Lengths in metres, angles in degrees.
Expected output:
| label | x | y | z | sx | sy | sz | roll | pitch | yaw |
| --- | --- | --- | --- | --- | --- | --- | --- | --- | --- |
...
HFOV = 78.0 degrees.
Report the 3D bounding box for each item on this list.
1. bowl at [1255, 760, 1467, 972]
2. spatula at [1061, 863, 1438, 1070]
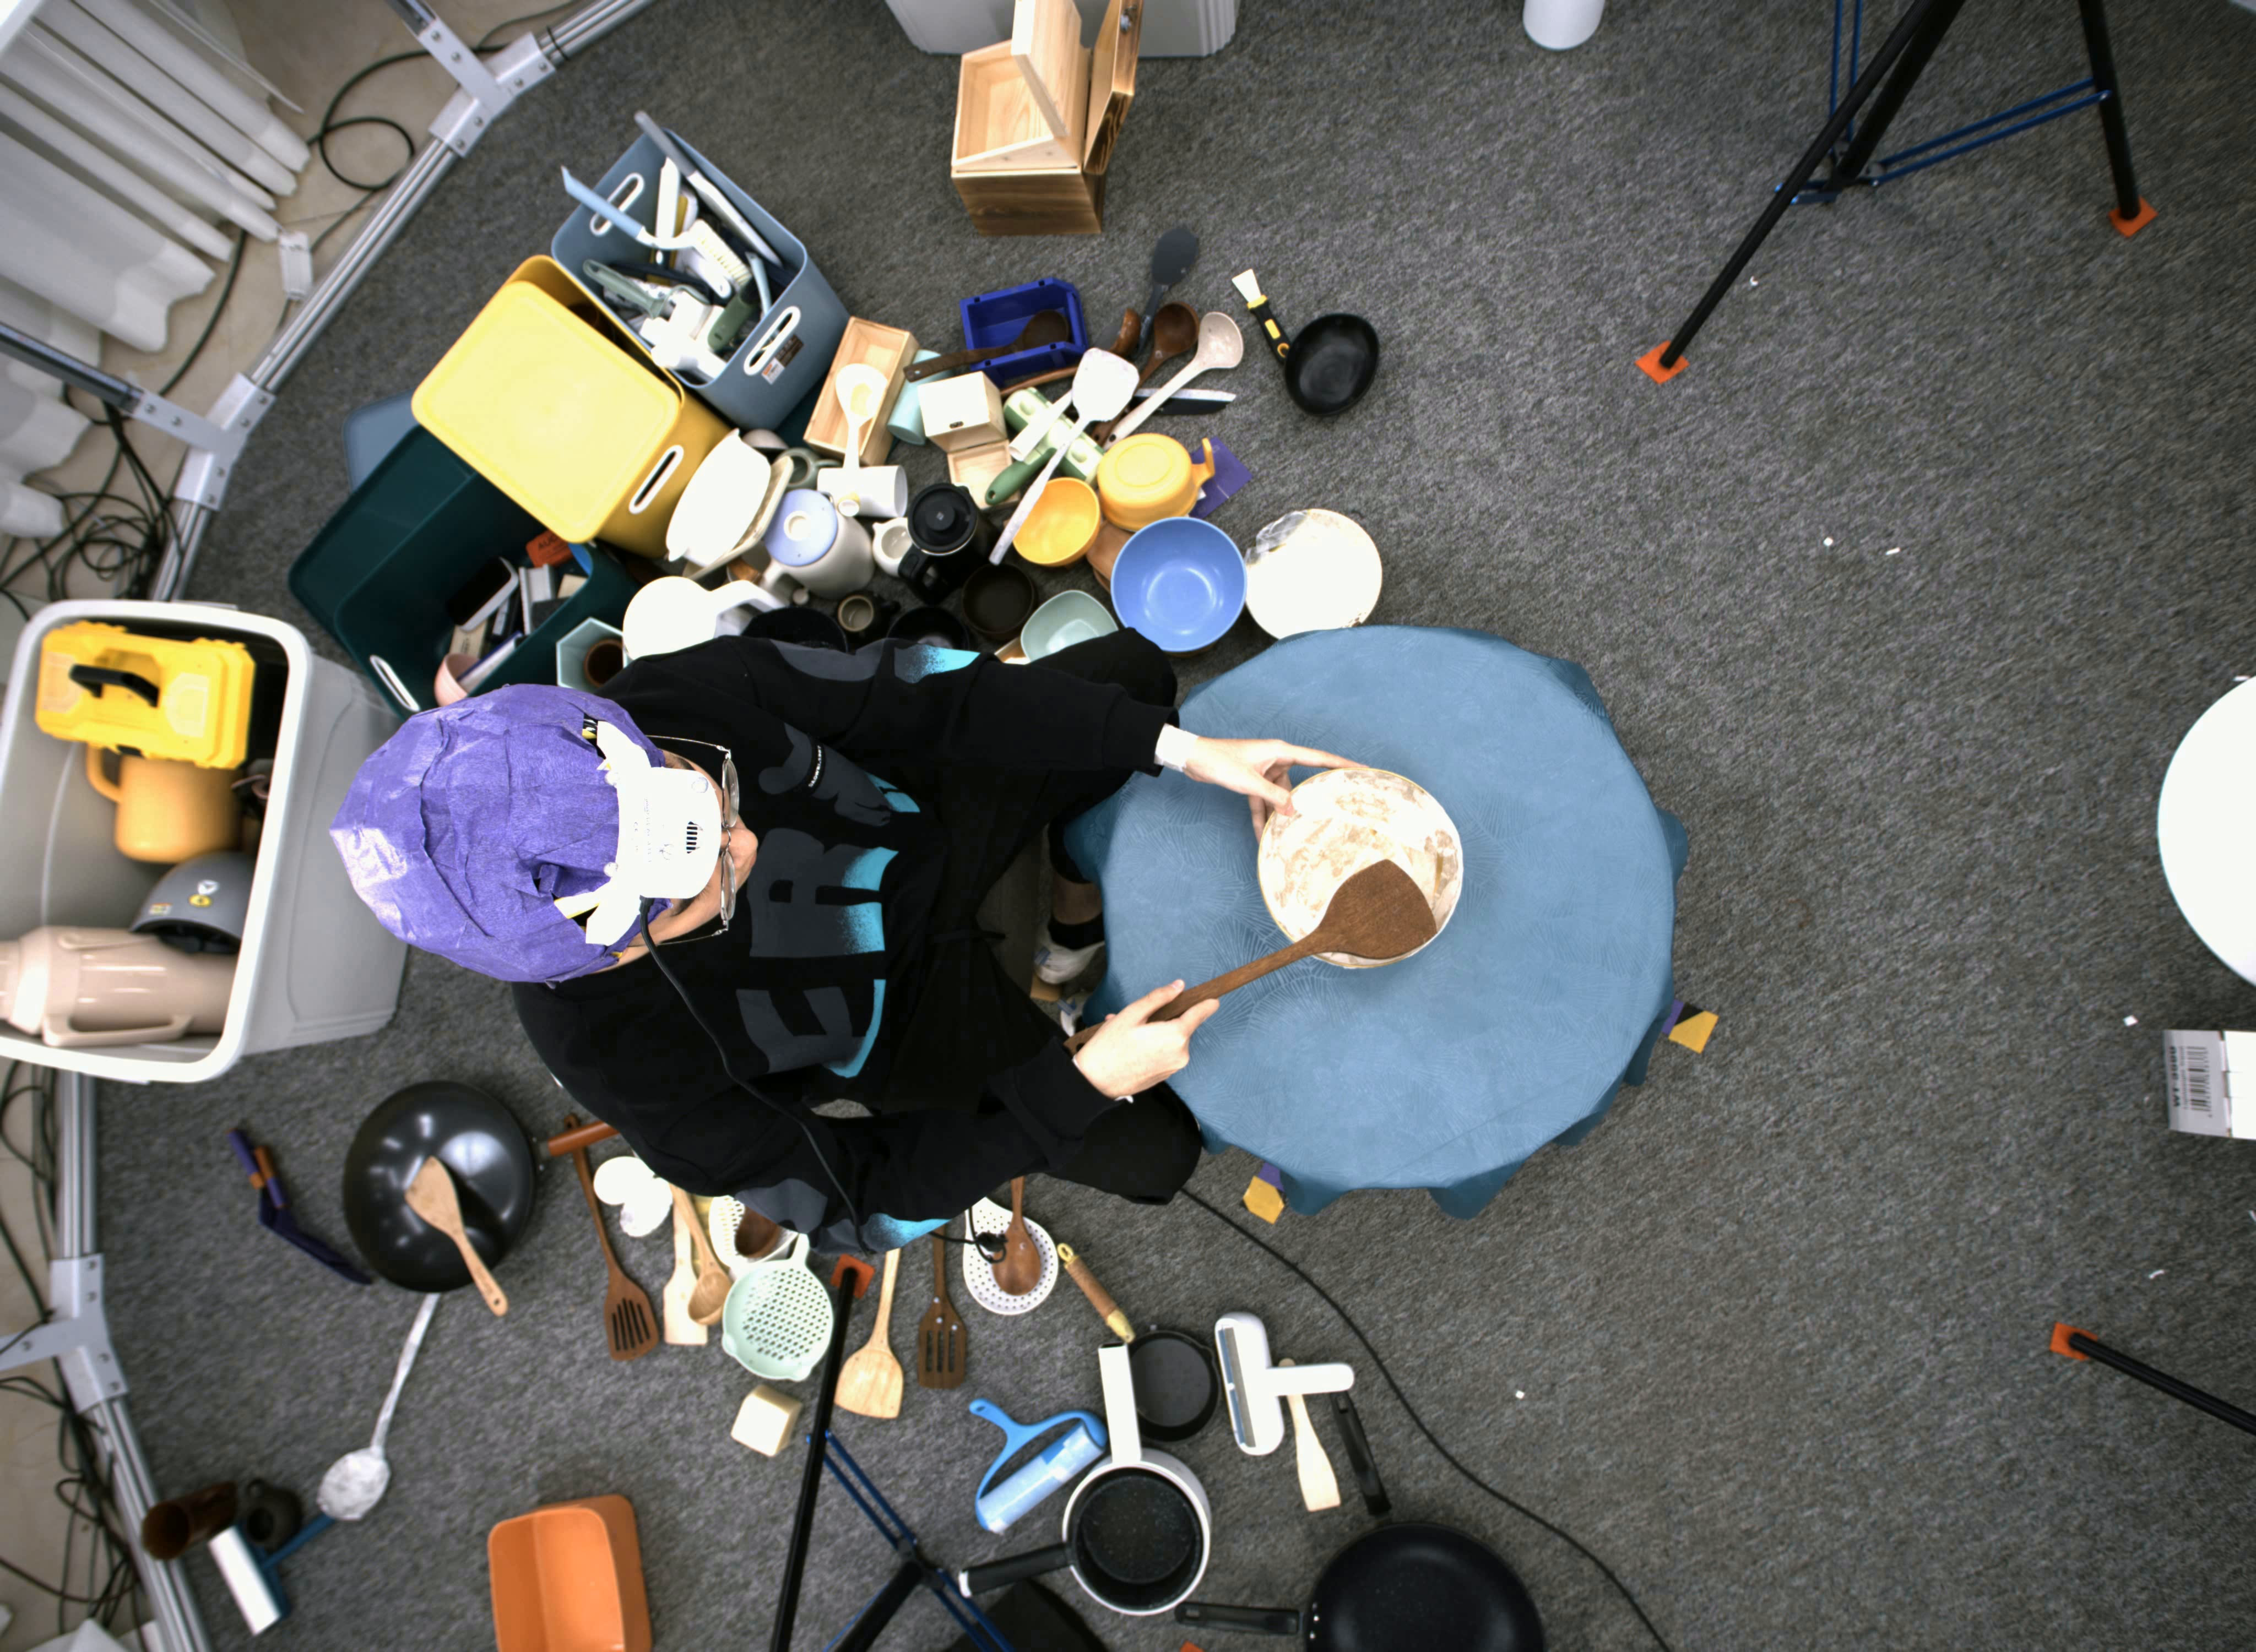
| label | x | y | z | sx | sy | sz | roll | pitch | yaw |
| --- | --- | --- | --- | --- | --- | --- | --- | --- | --- |
| bowl | 0.233 | 0.043 | 1.404 | 0.215 | 0.095 | 0.213 | -1 | 85 | 5 |
| spatula | 0.114 | 0.141 | 1.303 | 0.384 | 0.016 | 0.094 | -23 | 66 | -11 |
